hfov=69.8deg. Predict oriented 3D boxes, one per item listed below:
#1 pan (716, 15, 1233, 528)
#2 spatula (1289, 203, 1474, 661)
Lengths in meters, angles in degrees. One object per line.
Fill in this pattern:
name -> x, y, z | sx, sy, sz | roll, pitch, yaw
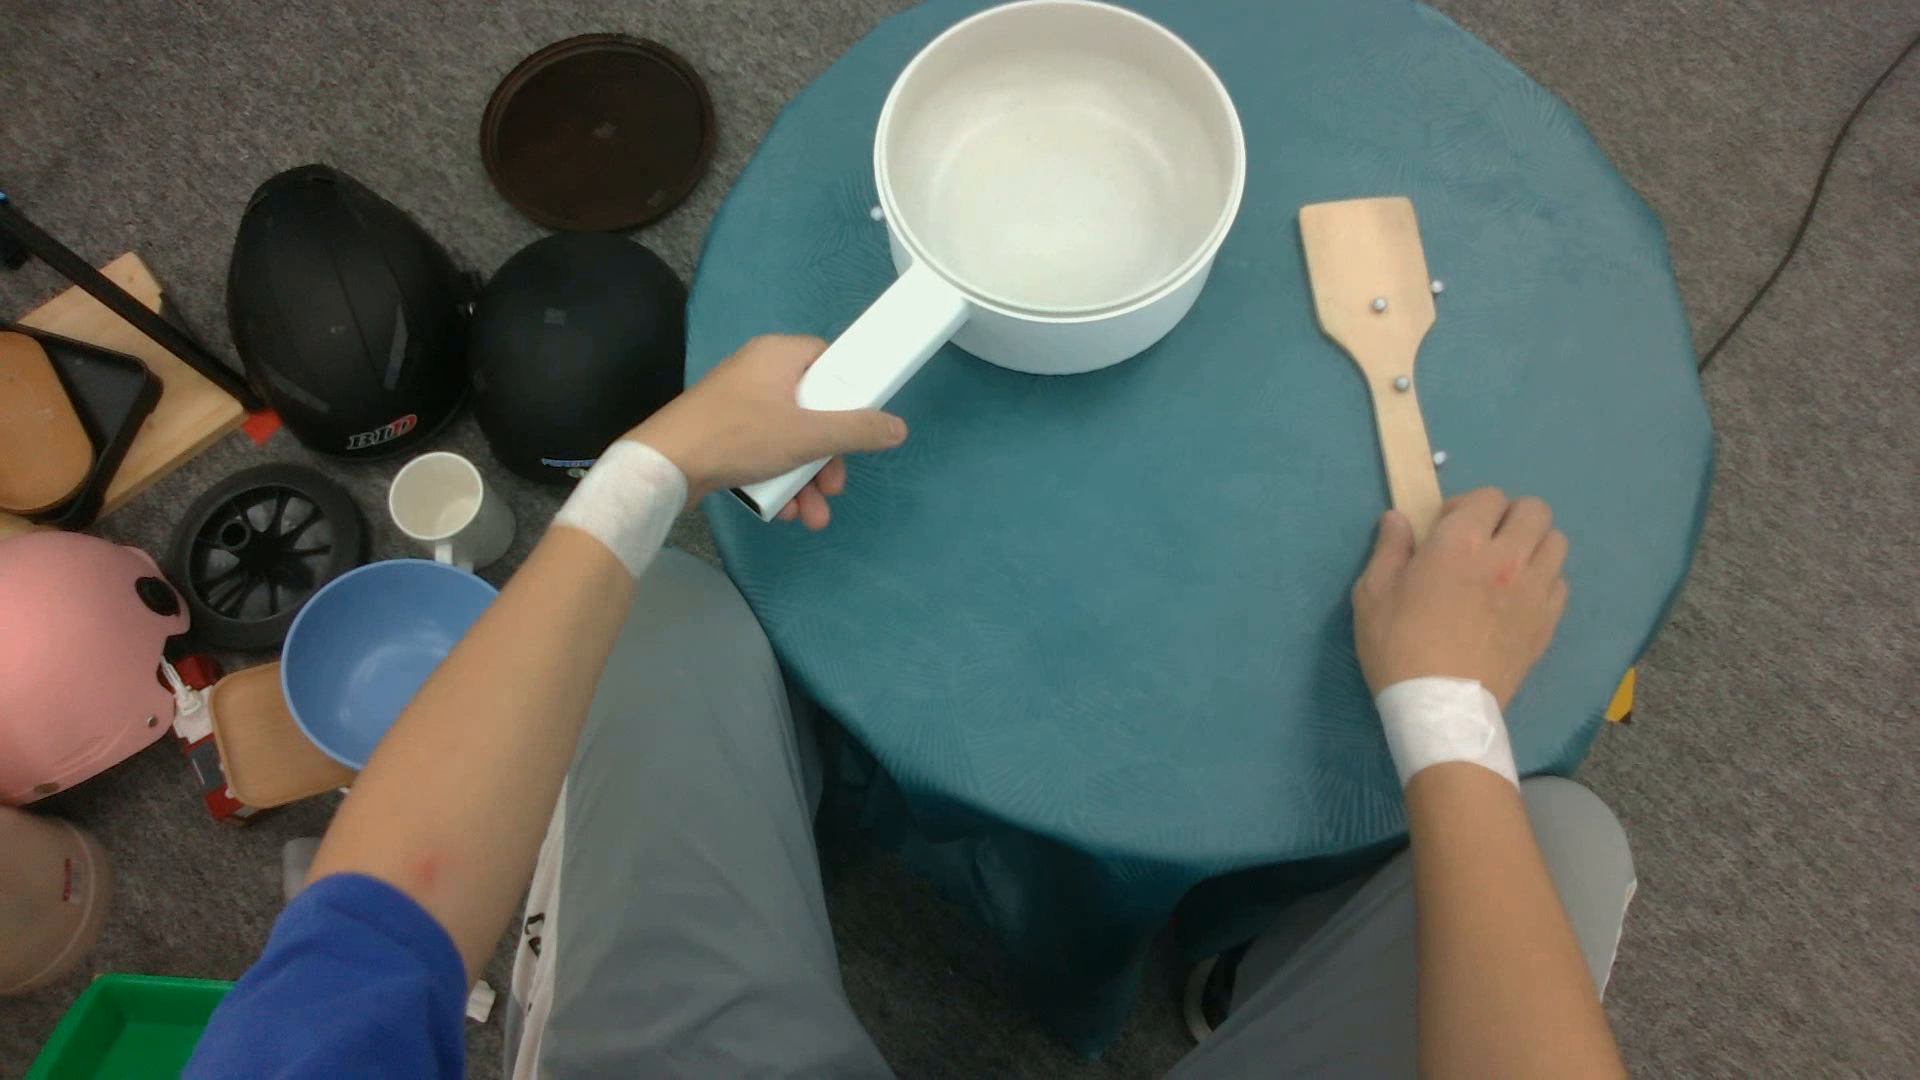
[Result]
pan -> 0.002, -0.138, 0.787 | 0.201, 0.102, 0.355 | 38, 76, 11
spatula -> 0.255, -0.070, 0.805 | 0.072, 0.010, 0.294 | -7, 69, -1
